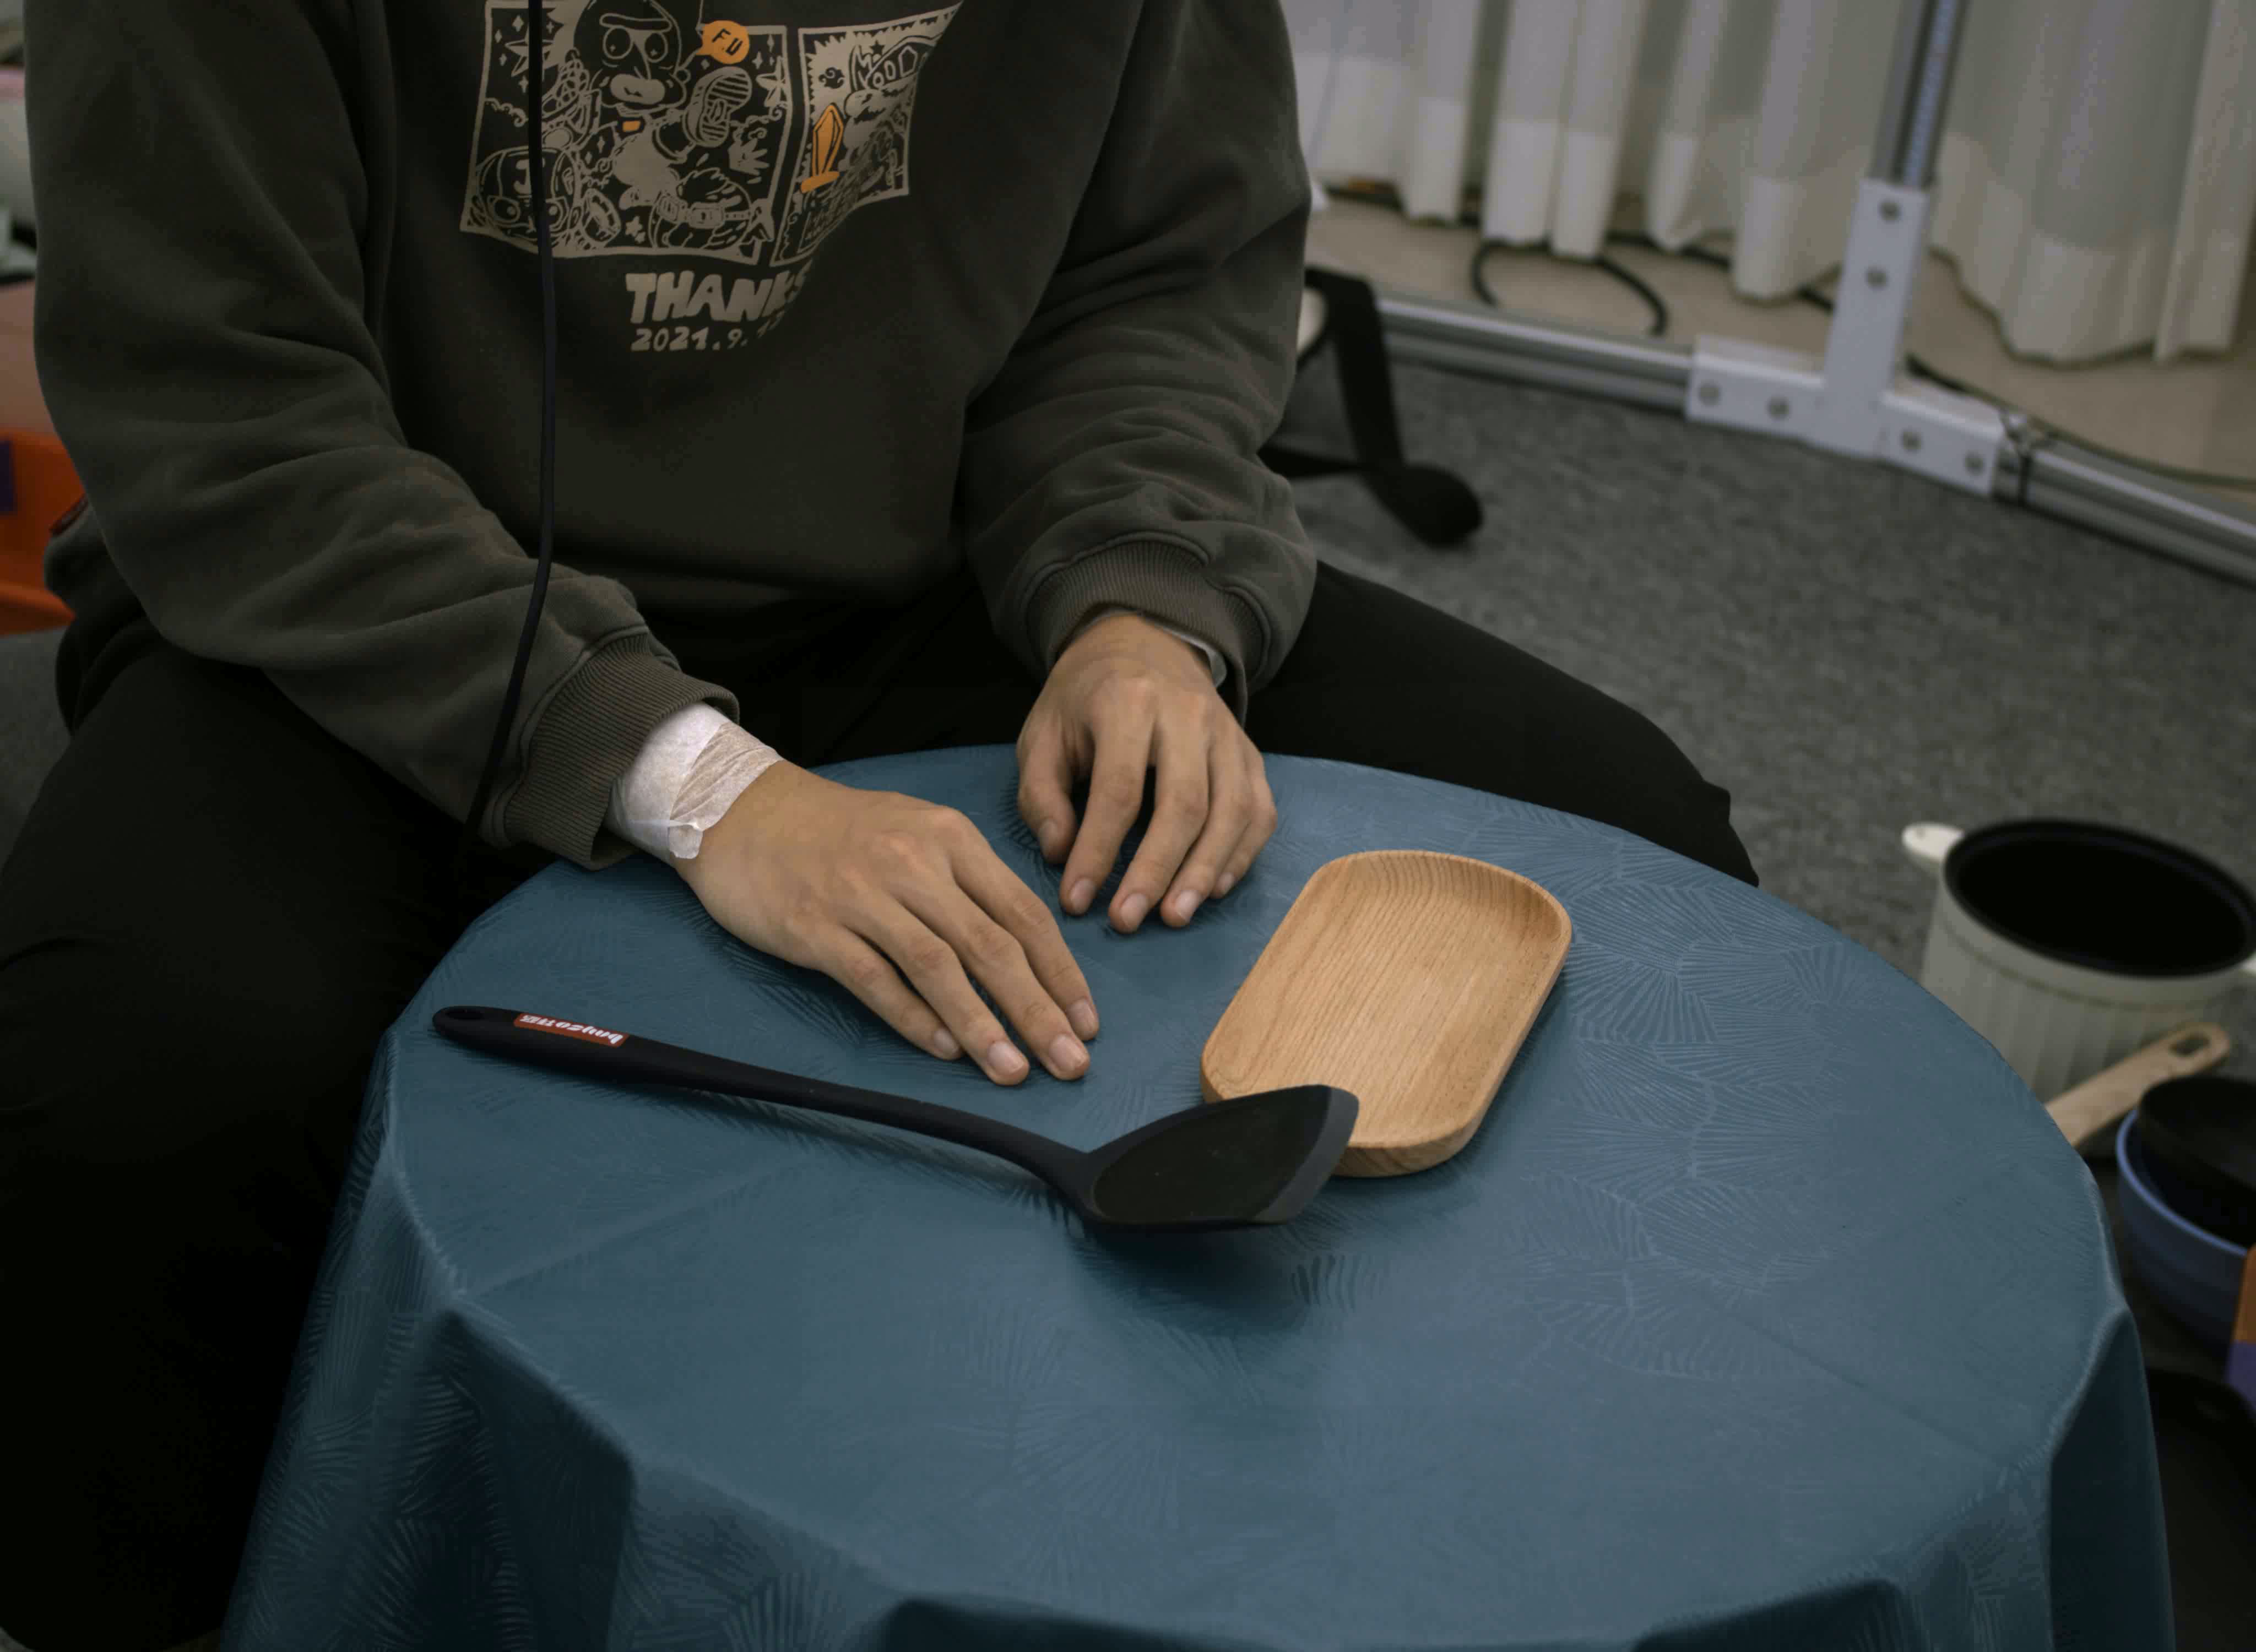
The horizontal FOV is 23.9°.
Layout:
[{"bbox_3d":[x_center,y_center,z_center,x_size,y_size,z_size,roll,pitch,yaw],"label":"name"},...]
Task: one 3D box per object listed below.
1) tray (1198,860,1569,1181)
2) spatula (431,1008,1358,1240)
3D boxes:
[{"bbox_3d":[0.094,0.068,1.918,0.102,0.020,0.231,13,28,13],"label":"tray"},{"bbox_3d":[-0.086,0.091,1.809,0.326,0.040,0.100,13,26,13],"label":"spatula"}]
